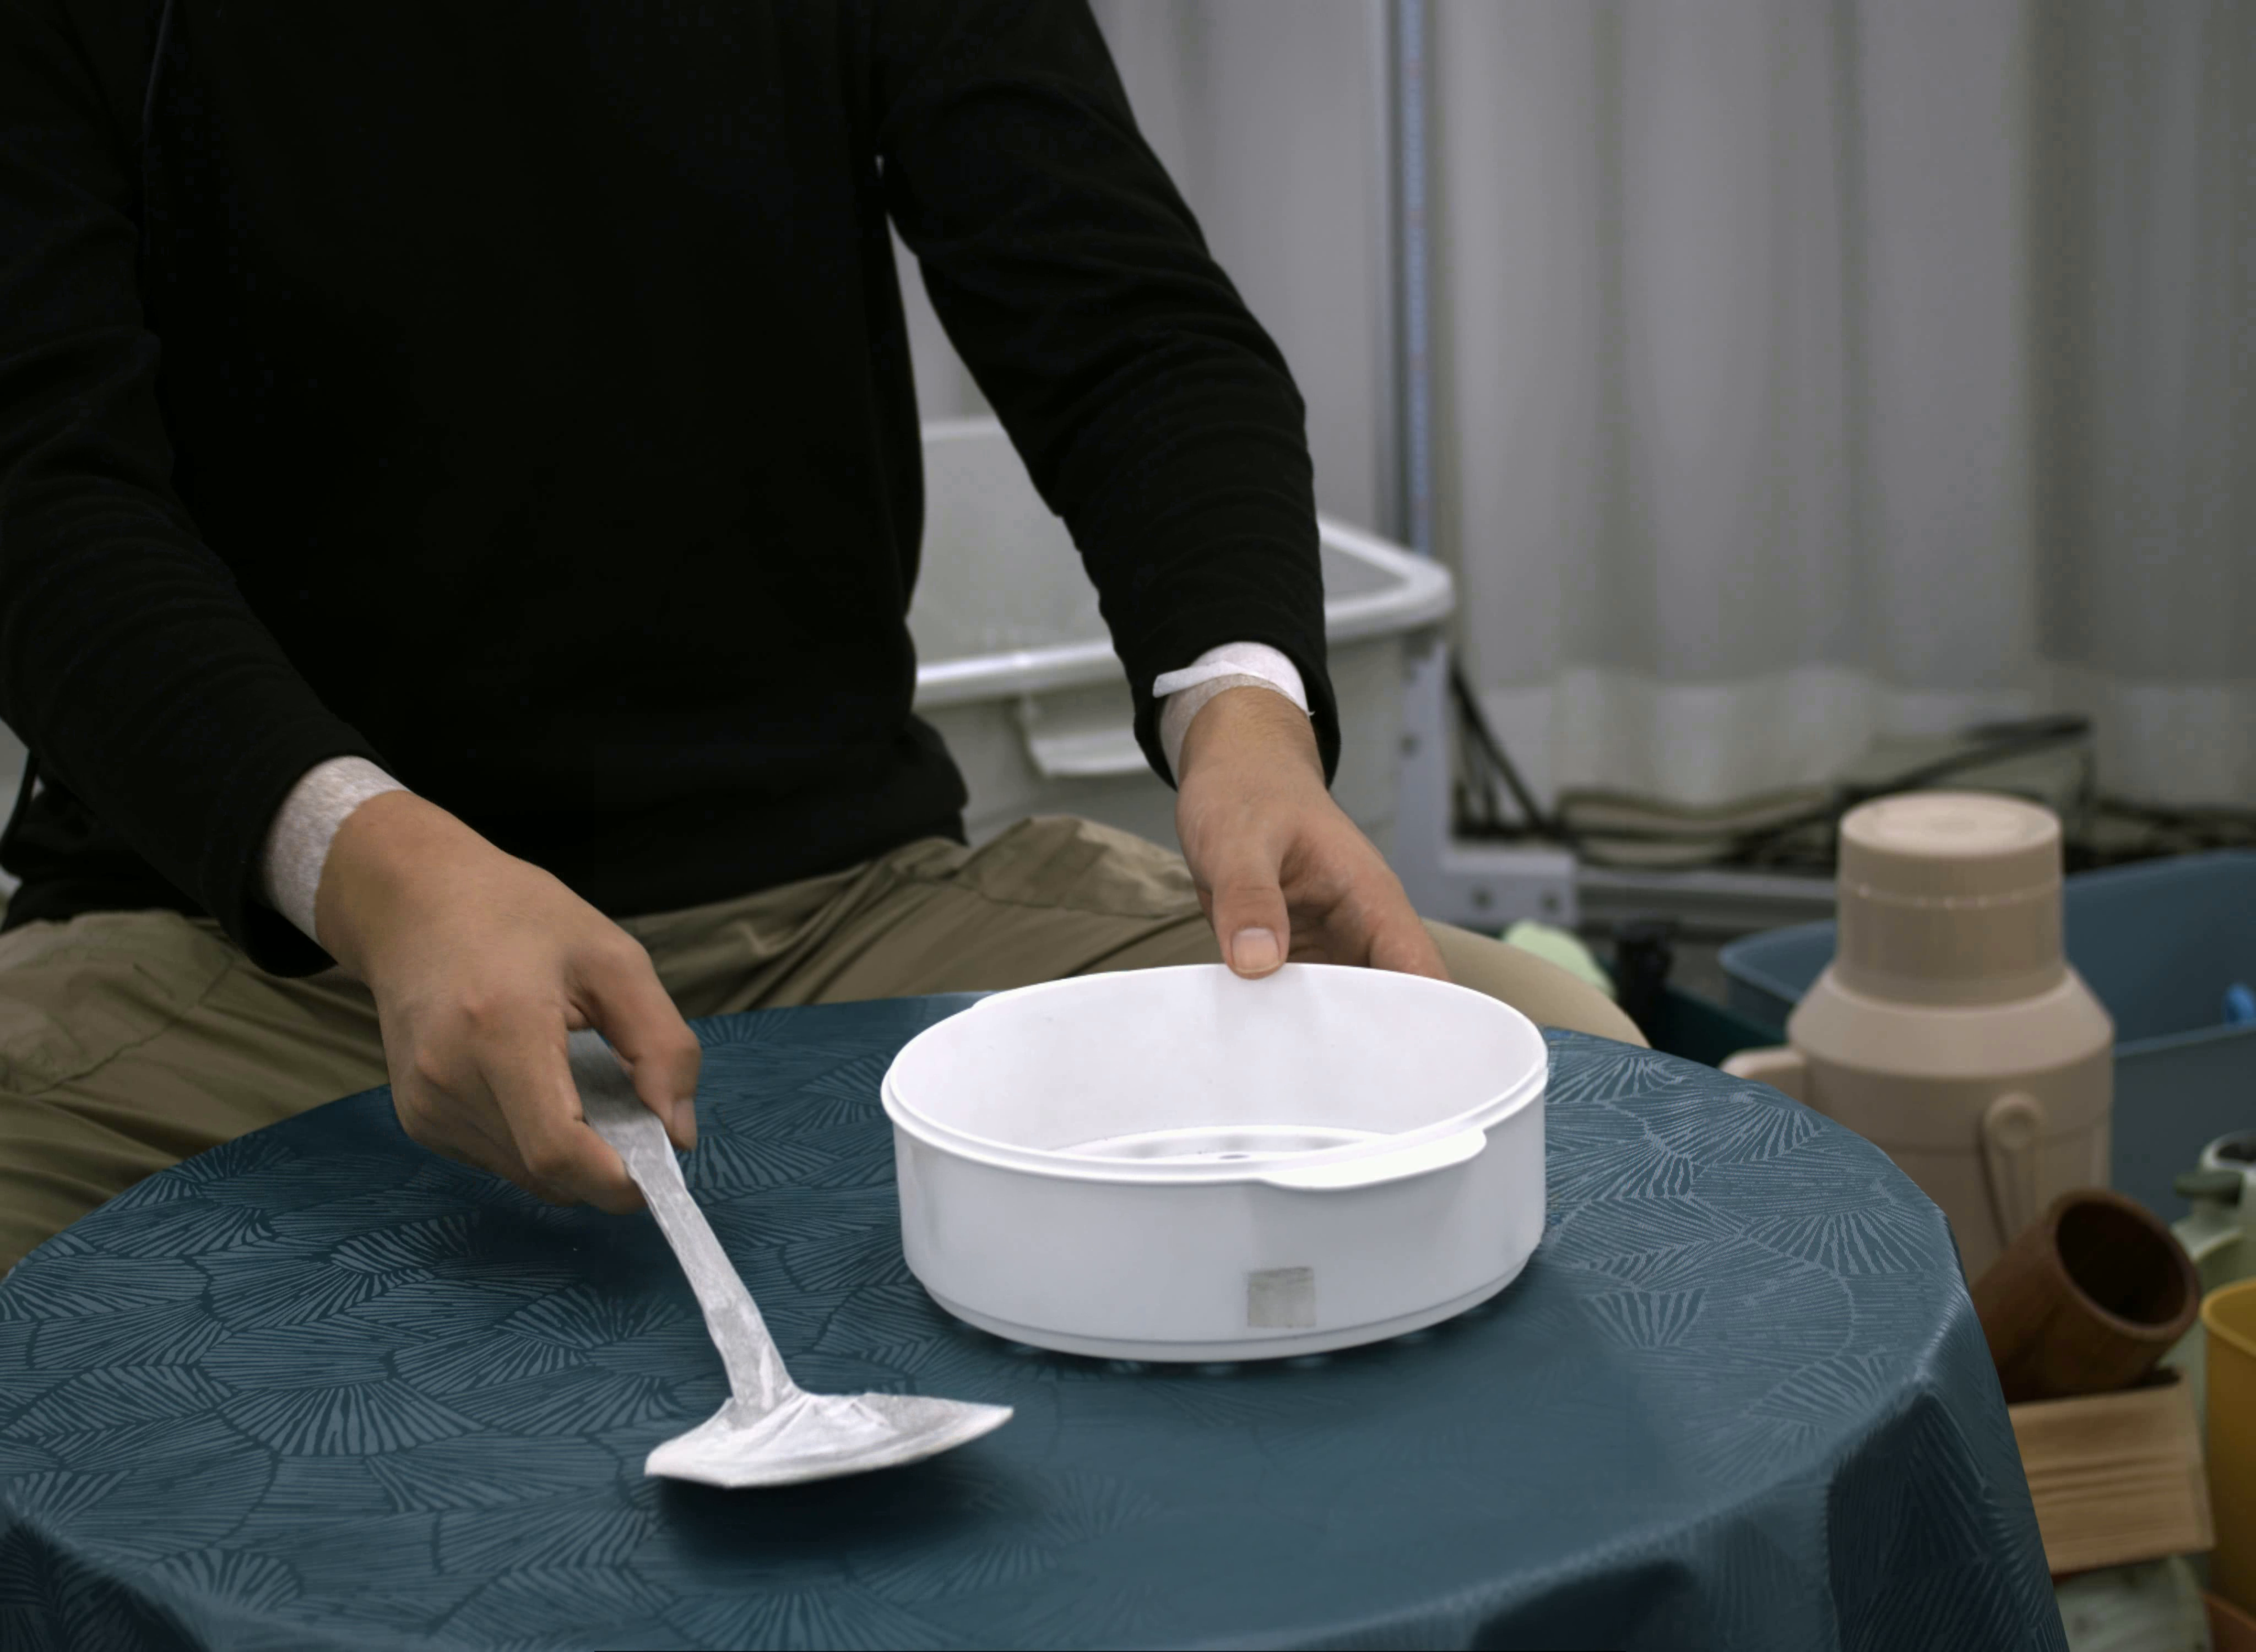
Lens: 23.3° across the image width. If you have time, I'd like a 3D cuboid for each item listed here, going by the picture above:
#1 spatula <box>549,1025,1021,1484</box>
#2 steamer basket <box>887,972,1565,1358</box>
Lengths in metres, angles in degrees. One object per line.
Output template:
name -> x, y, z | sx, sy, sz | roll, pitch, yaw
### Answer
spatula -> -0.125, 0.117, 1.598 | 0.098, 0.044, 0.369 | -10, 25, -16
steamer basket -> 0.030, 0.100, 1.627 | 0.201, 0.069, 0.232 | -9, 15, -25
